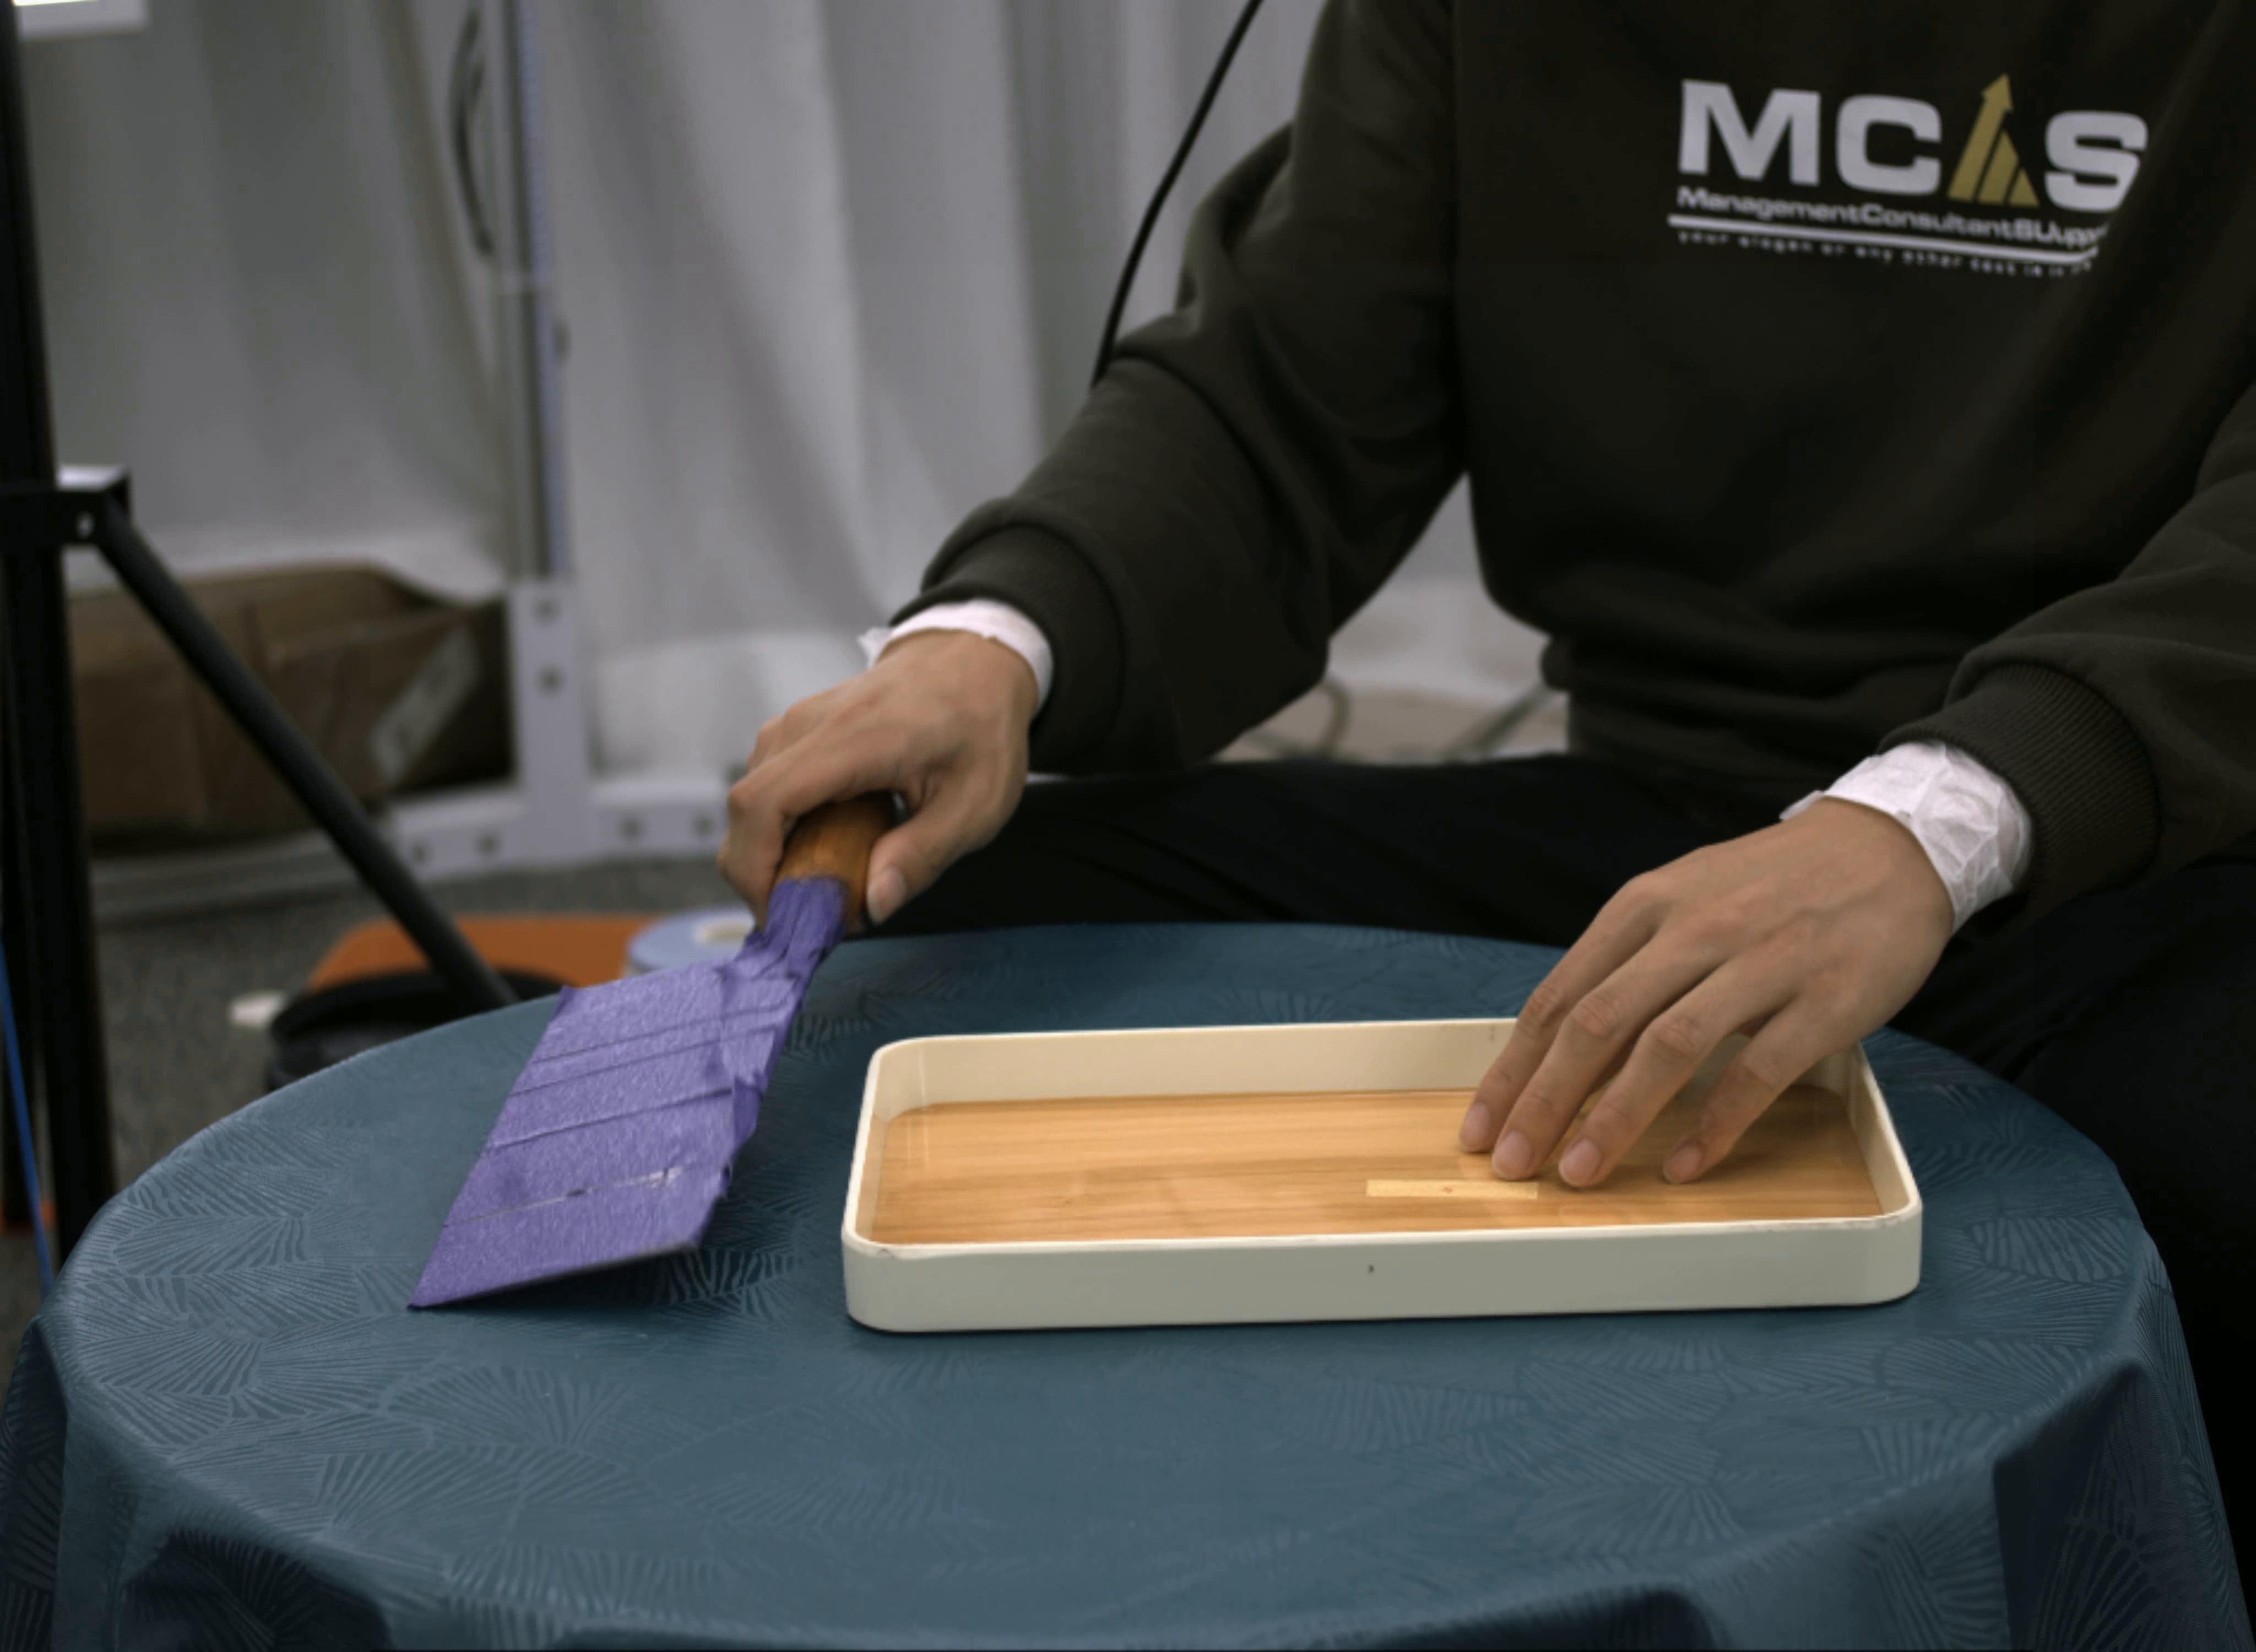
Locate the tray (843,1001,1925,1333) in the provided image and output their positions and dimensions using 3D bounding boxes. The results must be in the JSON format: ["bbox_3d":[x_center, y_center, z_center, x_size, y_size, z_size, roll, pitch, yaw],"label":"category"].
[{"bbox_3d":[0.071,0.097,1.536,0.299,0.027,0.192,-2,16,3],"label":"tray"}]

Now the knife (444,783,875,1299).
[{"bbox_3d":[-0.141,0.061,1.622,0.104,0.032,0.315,-11,19,11],"label":"knife"}]
